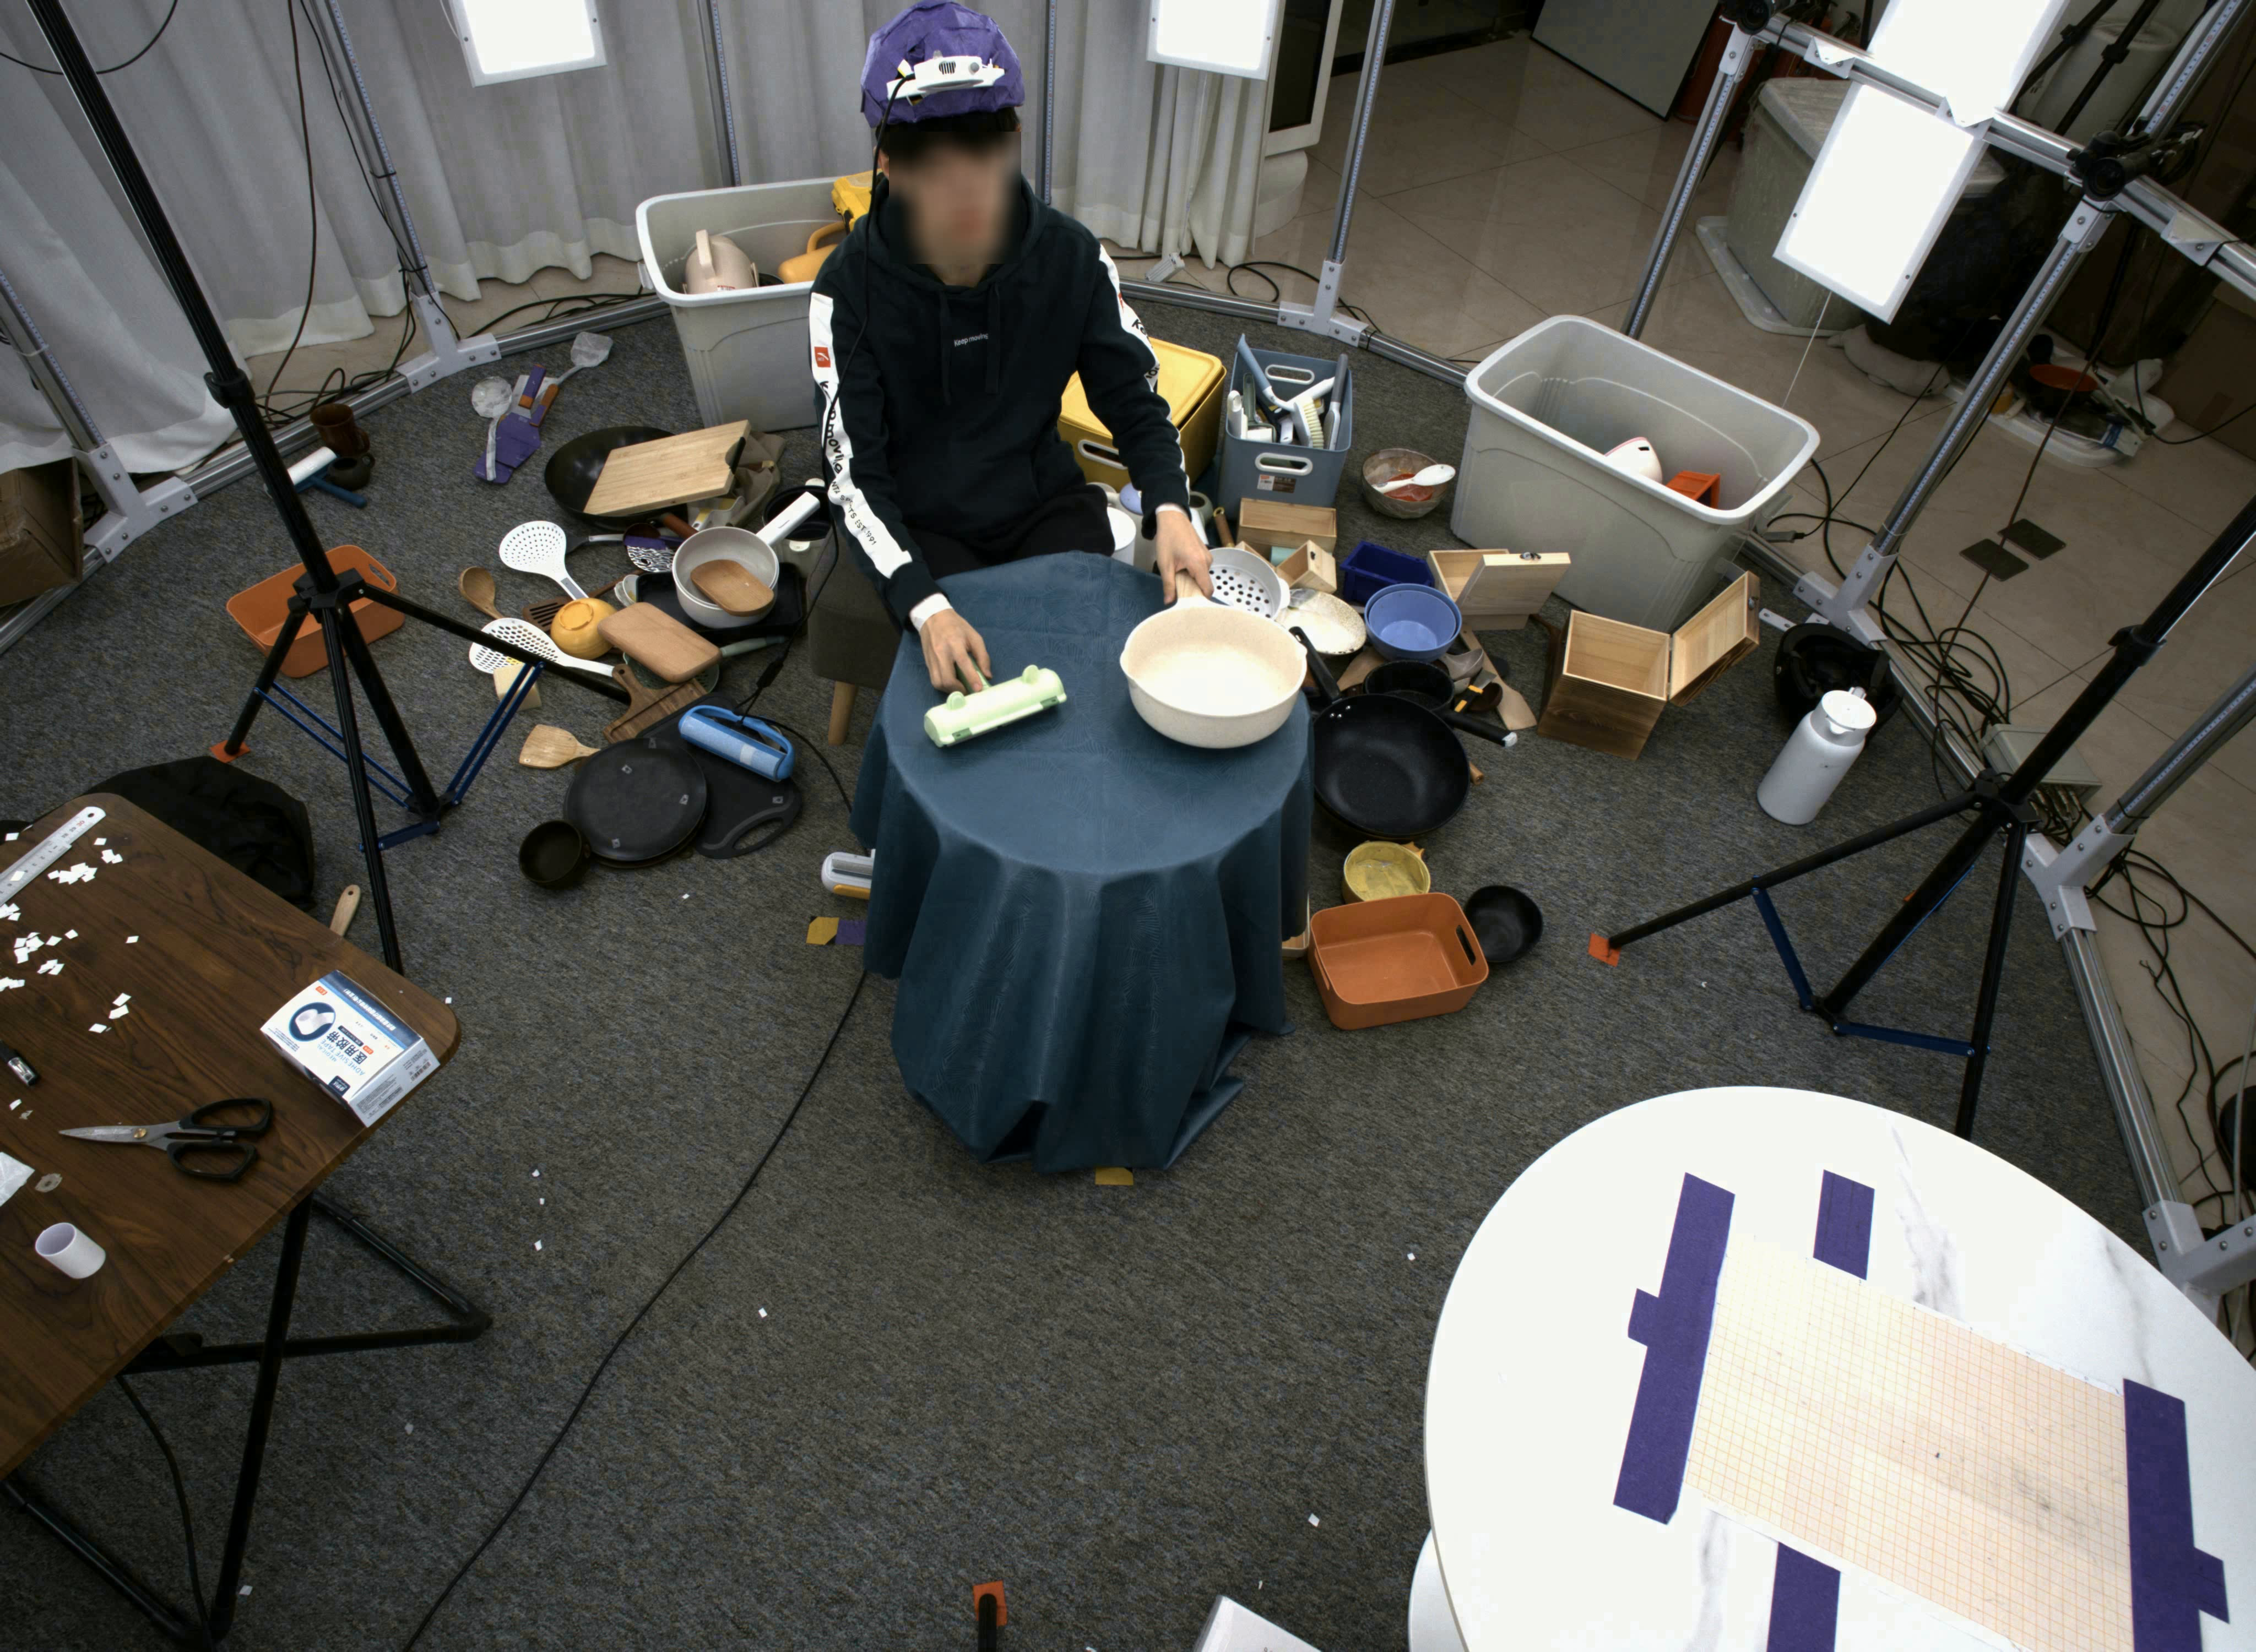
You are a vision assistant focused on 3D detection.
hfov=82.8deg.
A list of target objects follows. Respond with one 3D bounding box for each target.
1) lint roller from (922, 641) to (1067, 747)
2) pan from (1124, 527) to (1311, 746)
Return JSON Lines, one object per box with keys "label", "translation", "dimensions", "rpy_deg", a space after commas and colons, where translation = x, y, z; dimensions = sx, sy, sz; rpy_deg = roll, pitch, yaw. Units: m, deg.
{"label": "lint roller", "translation": [-0.210, -0.209, 1.779], "dimensions": [0.199, 0.080, 0.187], "rpy_deg": [-23, 62, -23]}
{"label": "pan", "translation": [0.105, -0.274, 1.849], "dimensions": [0.263, 0.099, 0.446], "rpy_deg": [-8, 44, -9]}
